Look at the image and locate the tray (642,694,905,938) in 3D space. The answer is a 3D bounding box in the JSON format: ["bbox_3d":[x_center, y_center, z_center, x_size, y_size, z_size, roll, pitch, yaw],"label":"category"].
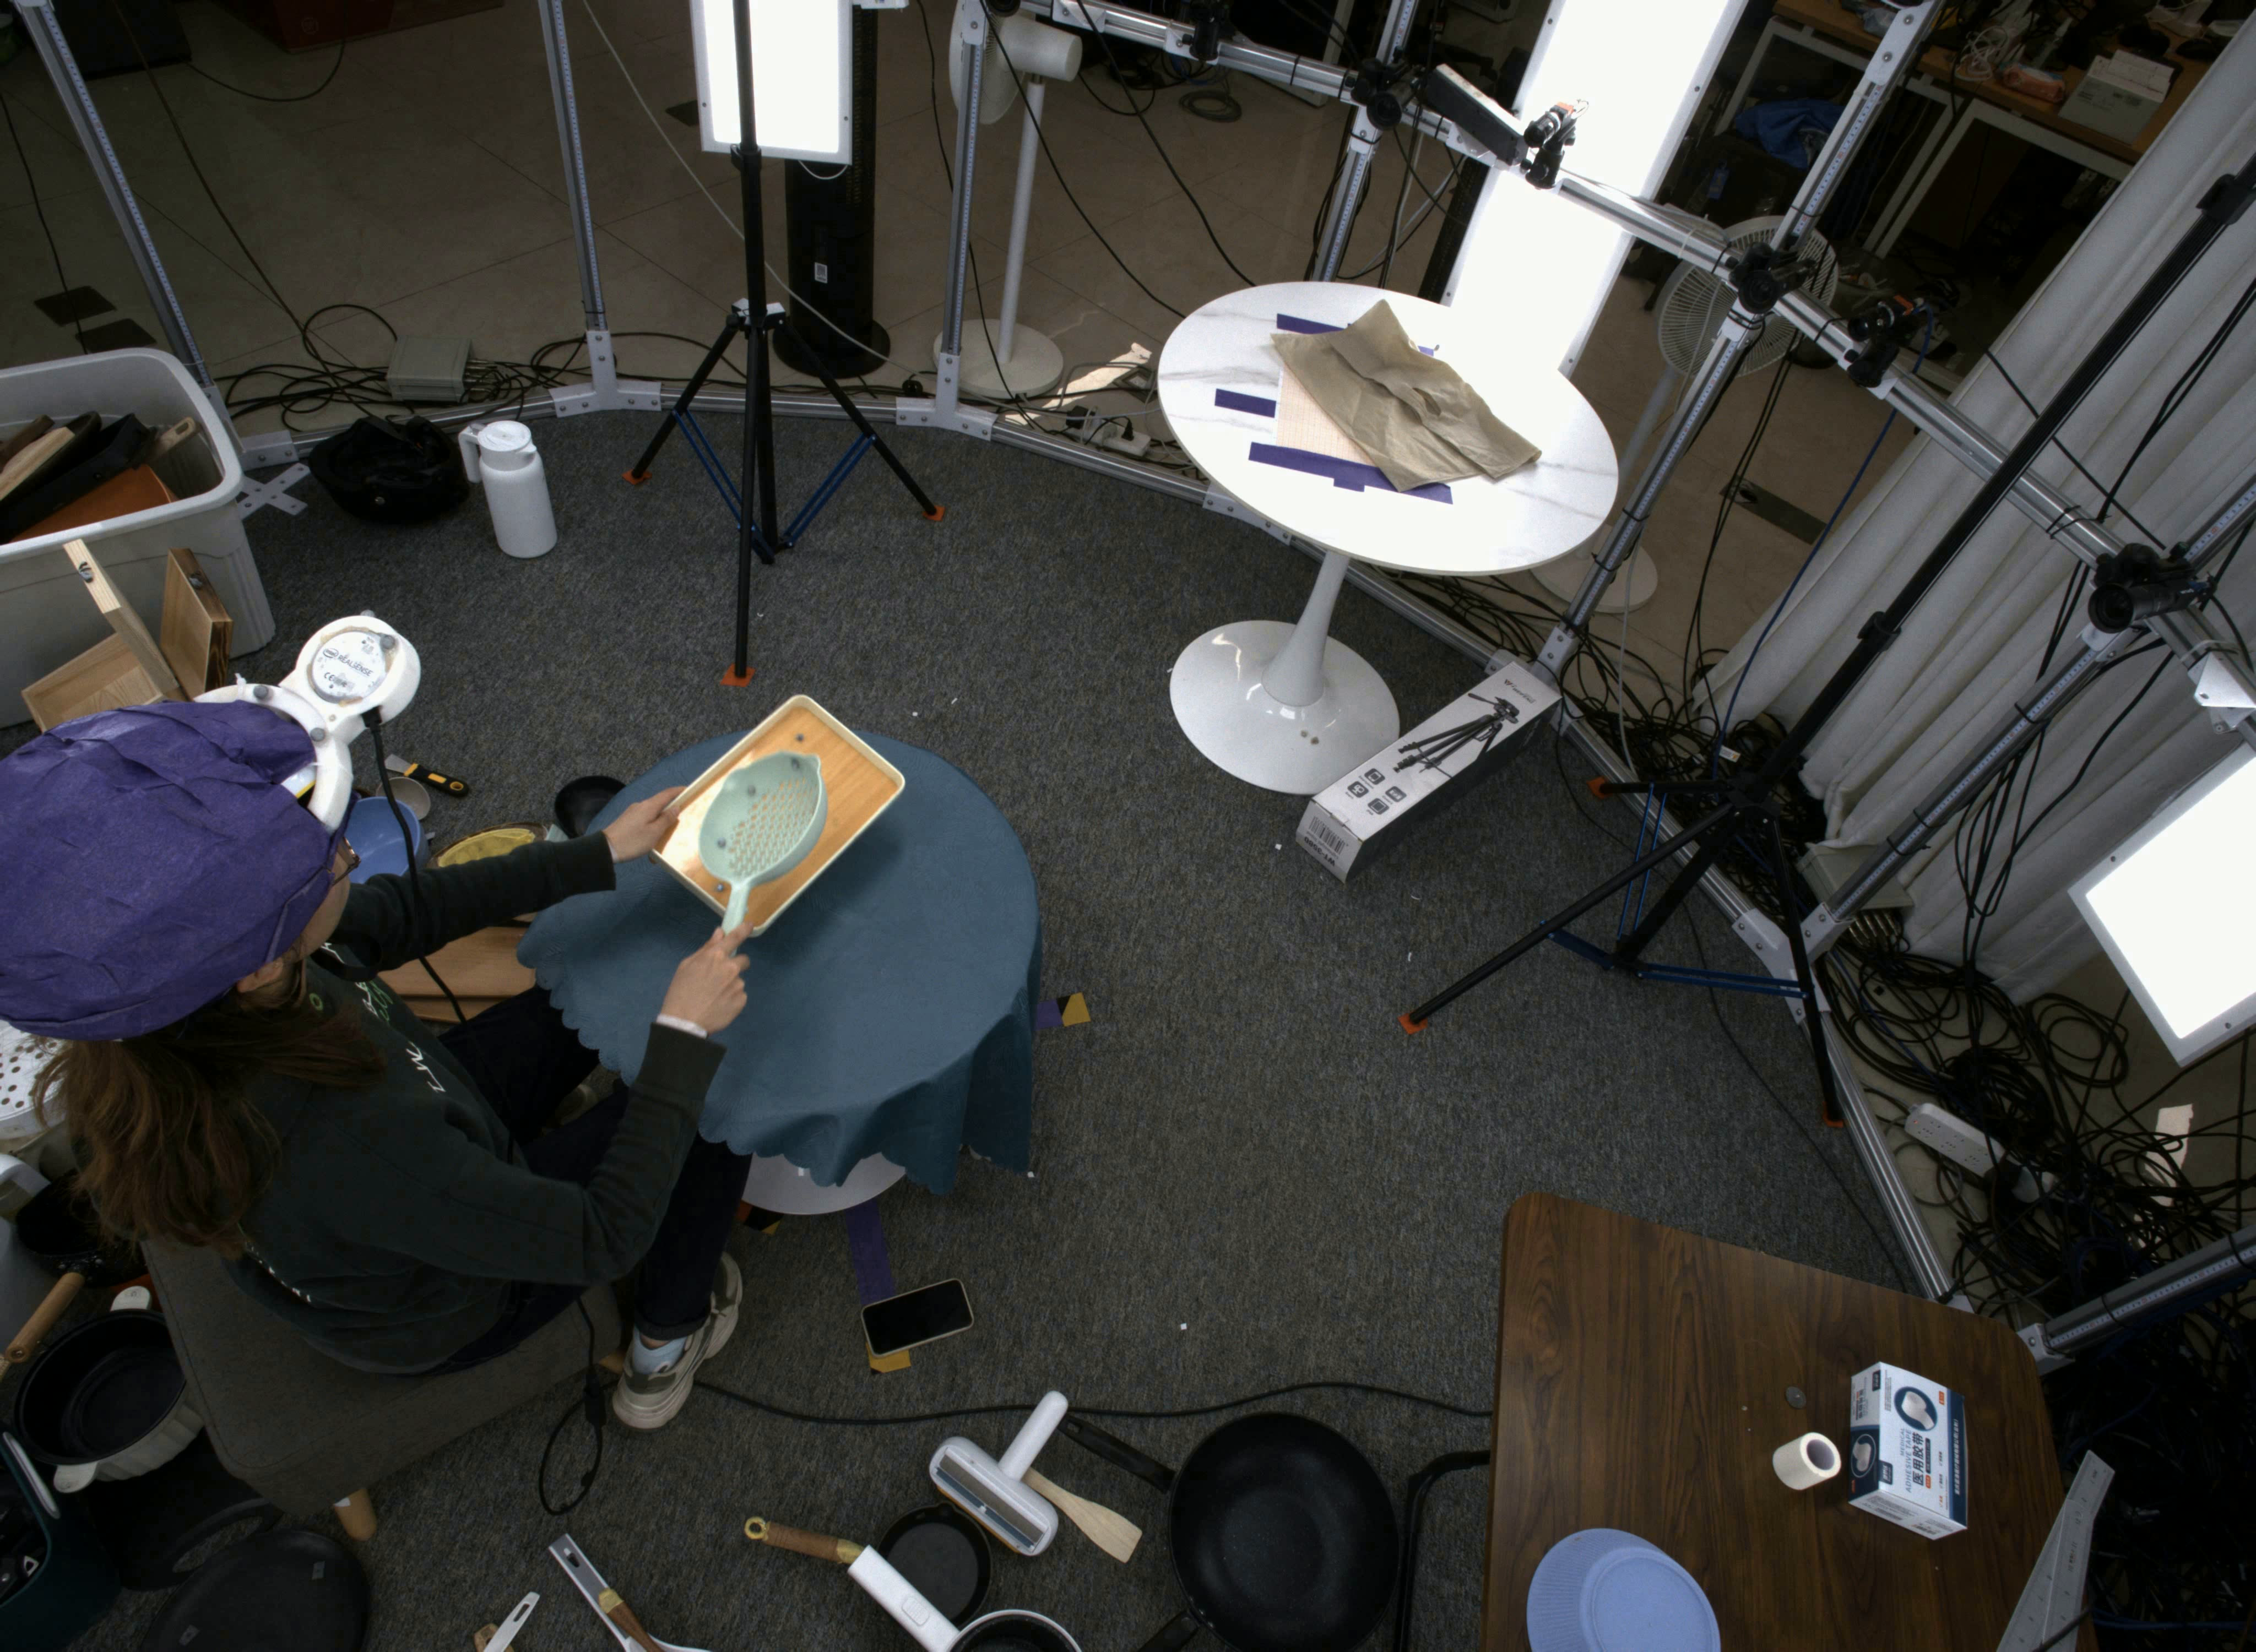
[{"bbox_3d":[-0.440,-0.019,1.622,0.191,0.027,0.299,41,55,-1],"label":"tray"}]

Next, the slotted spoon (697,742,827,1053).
[{"bbox_3d":[-0.421,0.068,1.416,0.165,0.078,0.354,-7,50,24],"label":"slotted spoon"}]
